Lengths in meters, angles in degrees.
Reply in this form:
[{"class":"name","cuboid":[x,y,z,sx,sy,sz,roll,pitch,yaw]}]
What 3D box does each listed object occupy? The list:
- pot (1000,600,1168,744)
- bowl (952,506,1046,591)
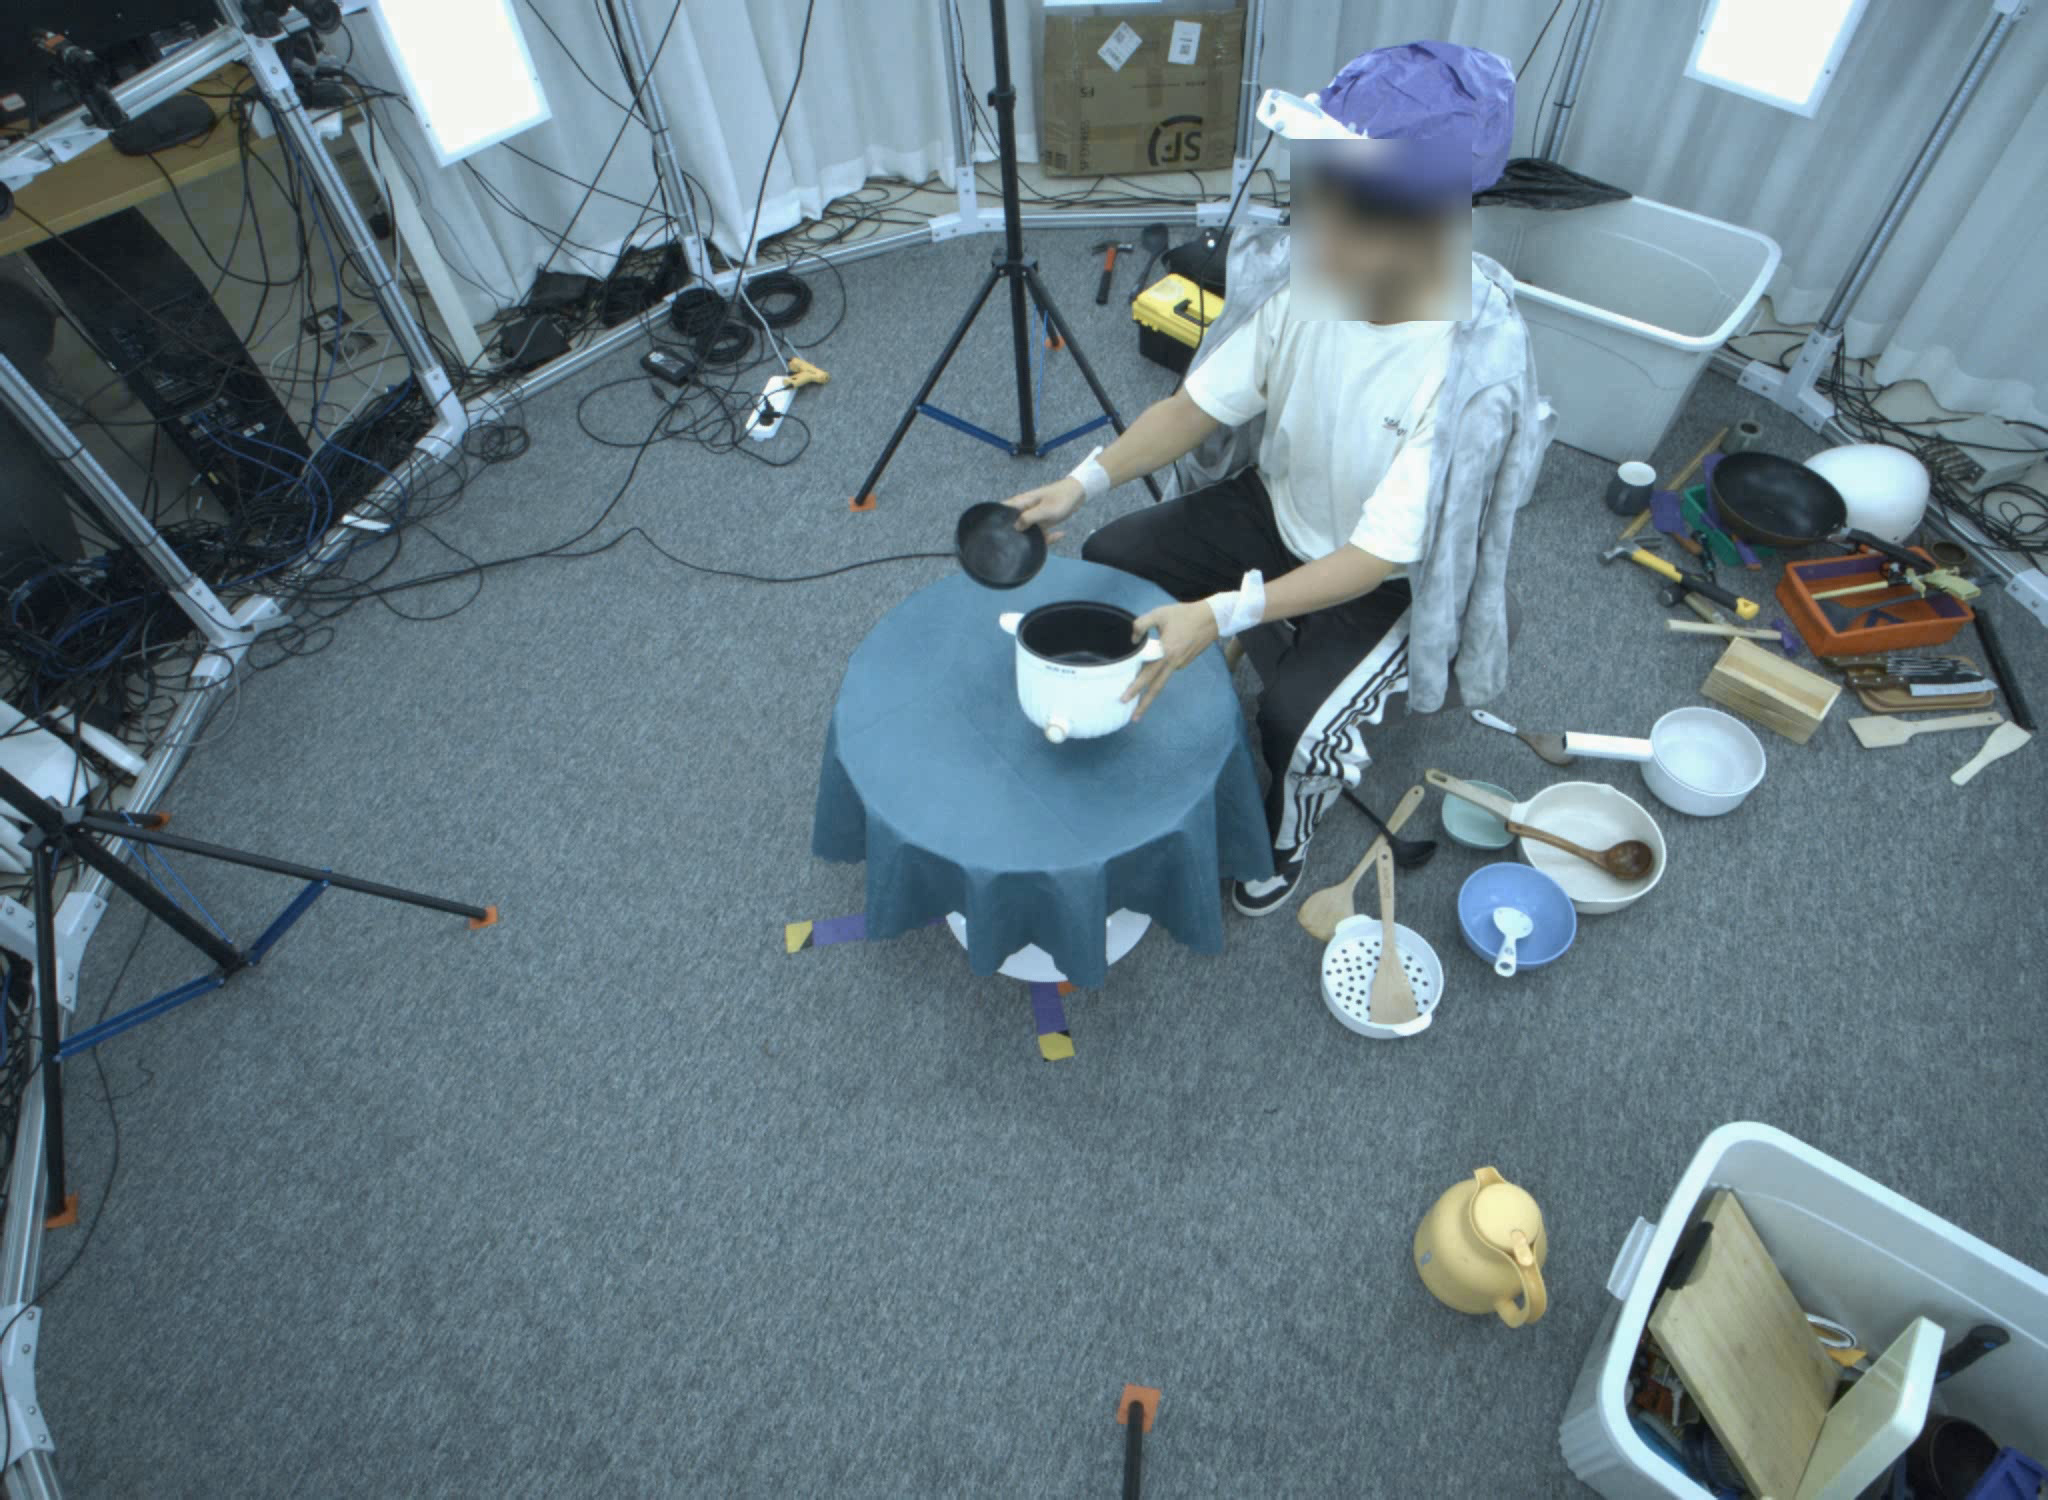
[{"class":"pot","cuboid":[0.078,-0.104,1.712,0.238,0.144,0.191,12,35,15]},{"class":"bowl","cuboid":[-0.044,-0.285,1.778,0.138,0.066,0.170,26,50,-7]}]
